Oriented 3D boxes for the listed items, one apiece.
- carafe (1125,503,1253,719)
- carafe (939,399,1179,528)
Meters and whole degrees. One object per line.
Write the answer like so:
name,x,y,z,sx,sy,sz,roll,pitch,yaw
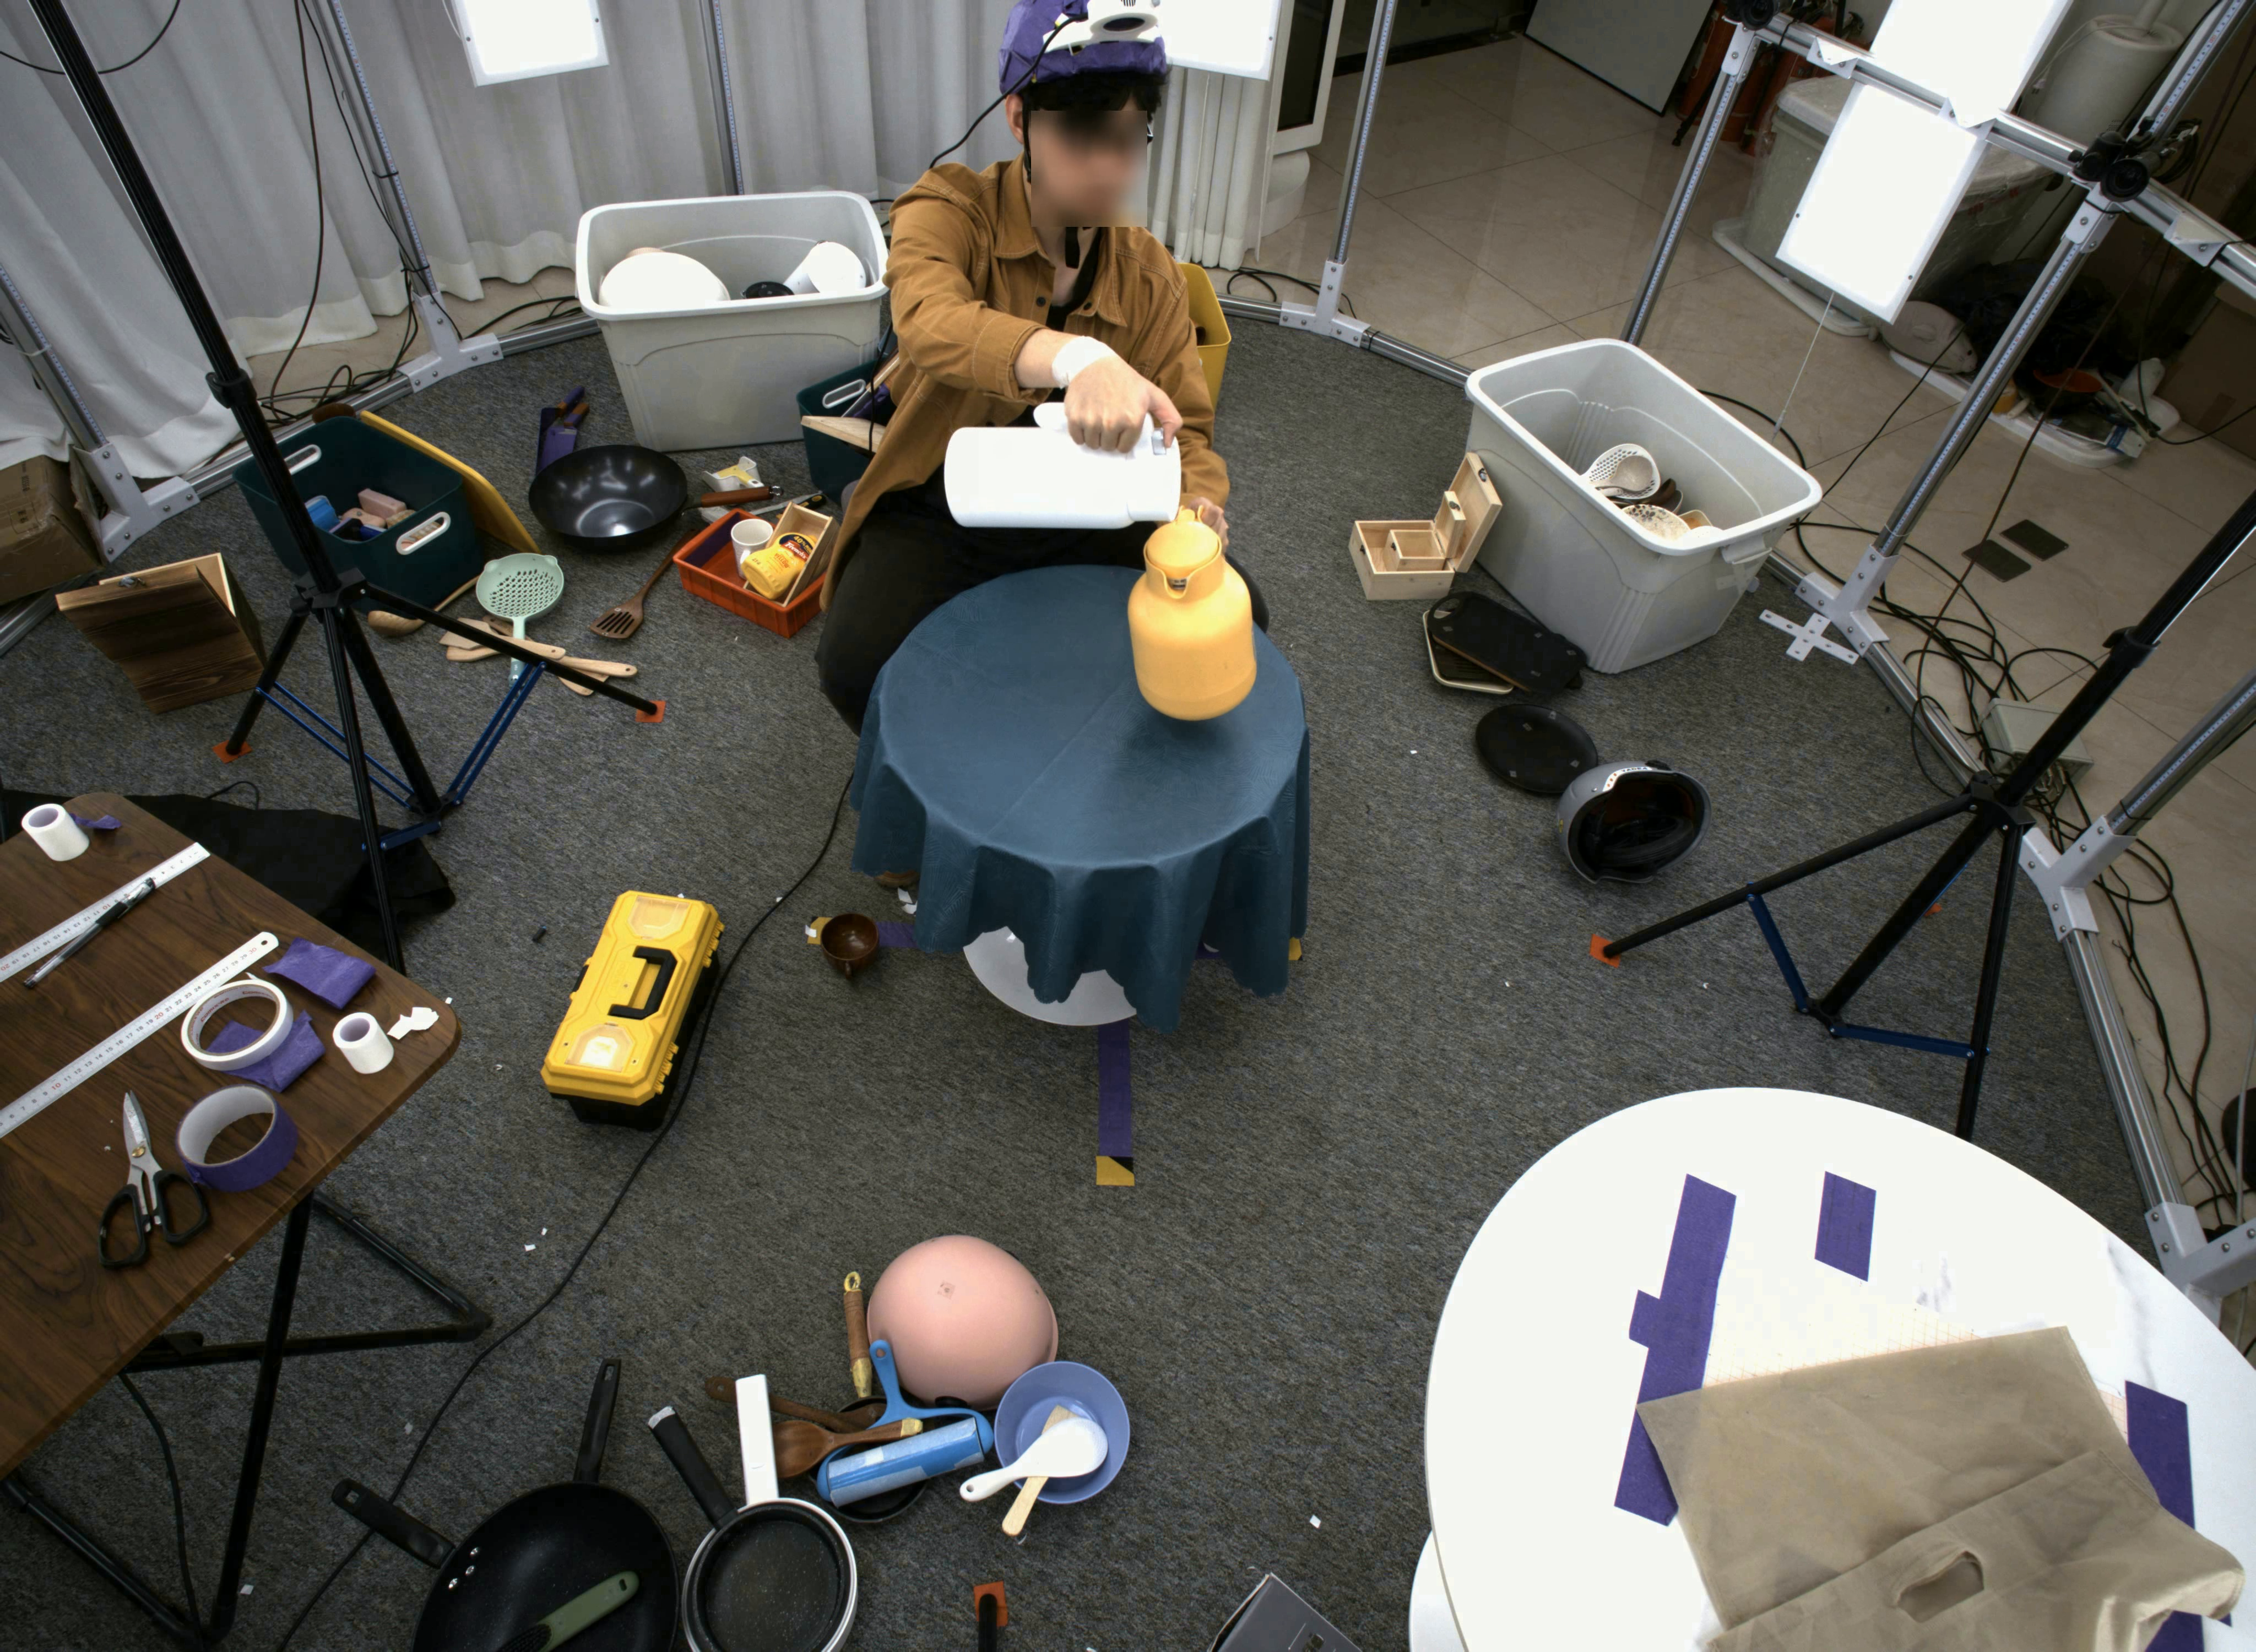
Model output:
carafe,0.082,-0.287,1.675,0.164,0.254,0.207,5,52,11
carafe,-0.081,-0.417,1.497,0.269,0.169,0.126,5,61,14
